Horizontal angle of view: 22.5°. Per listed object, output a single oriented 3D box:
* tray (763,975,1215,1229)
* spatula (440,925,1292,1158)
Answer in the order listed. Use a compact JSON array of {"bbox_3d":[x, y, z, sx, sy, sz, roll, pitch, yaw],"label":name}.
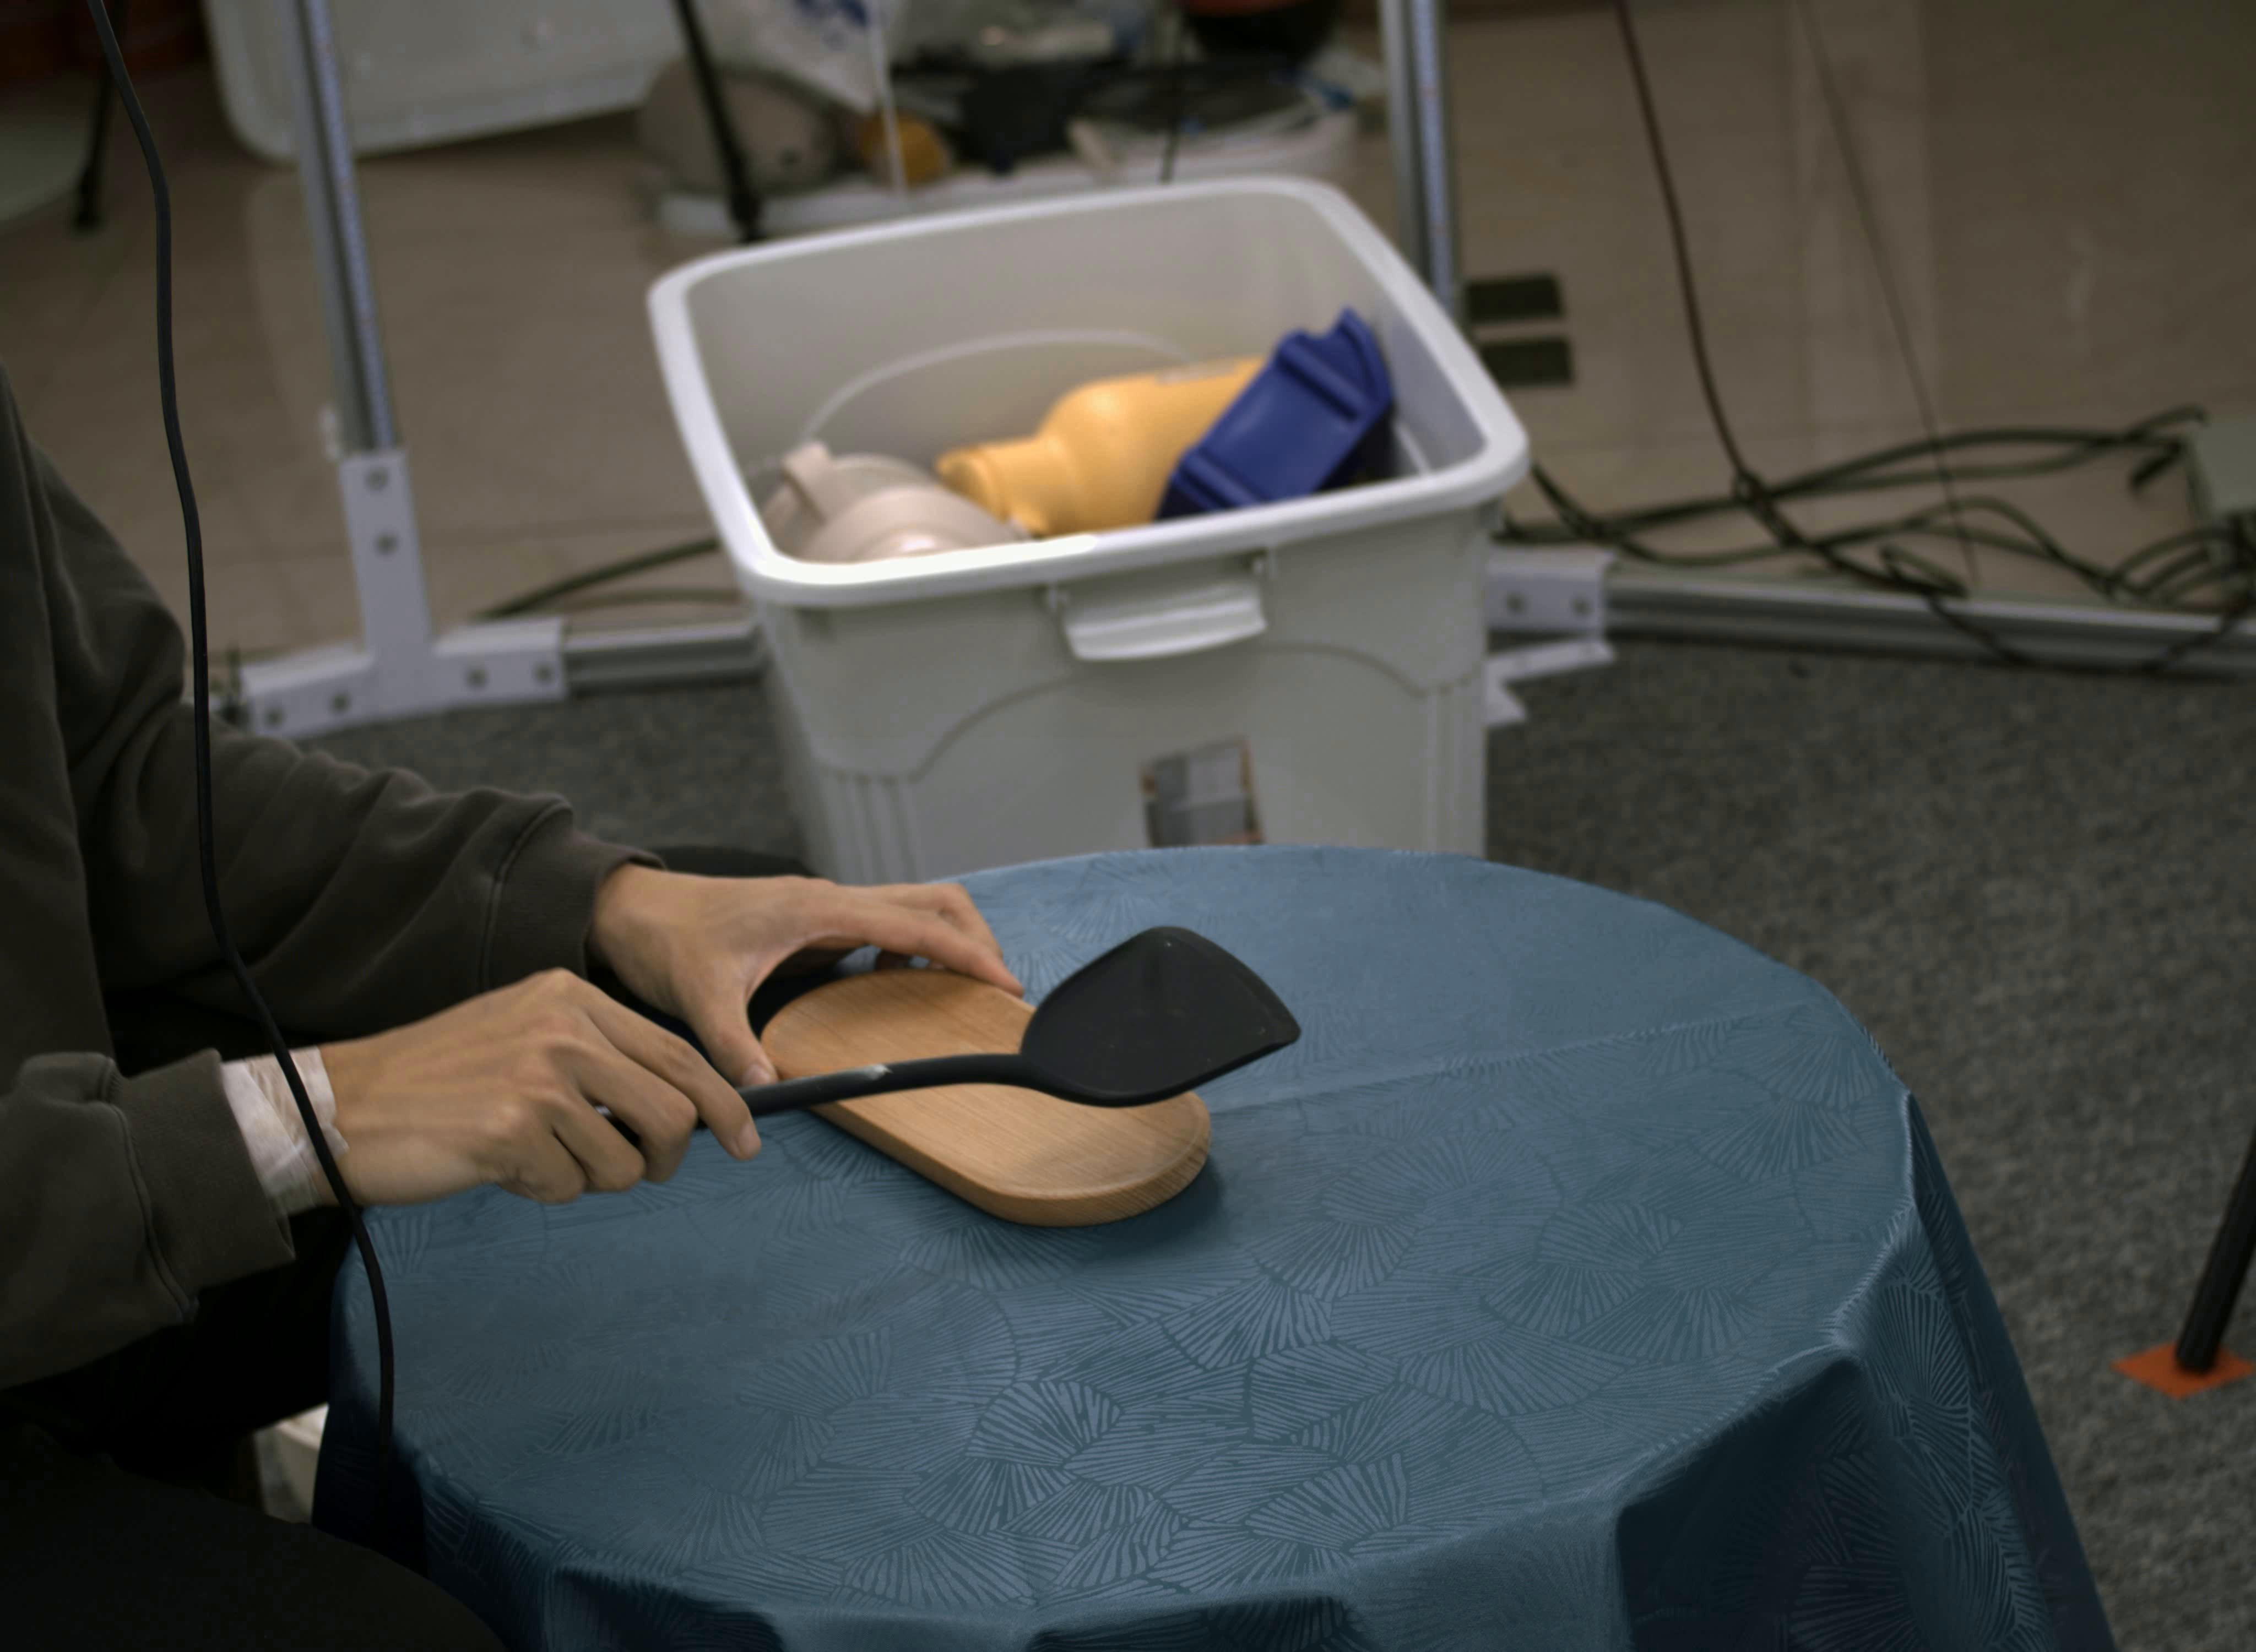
[{"bbox_3d":[-0.056,0.106,2.211,0.101,0.020,0.229,-24,31,-30],"label":"tray"},{"bbox_3d":[-0.098,0.086,2.063,0.325,0.041,0.098,-6,28,-30],"label":"spatula"}]
